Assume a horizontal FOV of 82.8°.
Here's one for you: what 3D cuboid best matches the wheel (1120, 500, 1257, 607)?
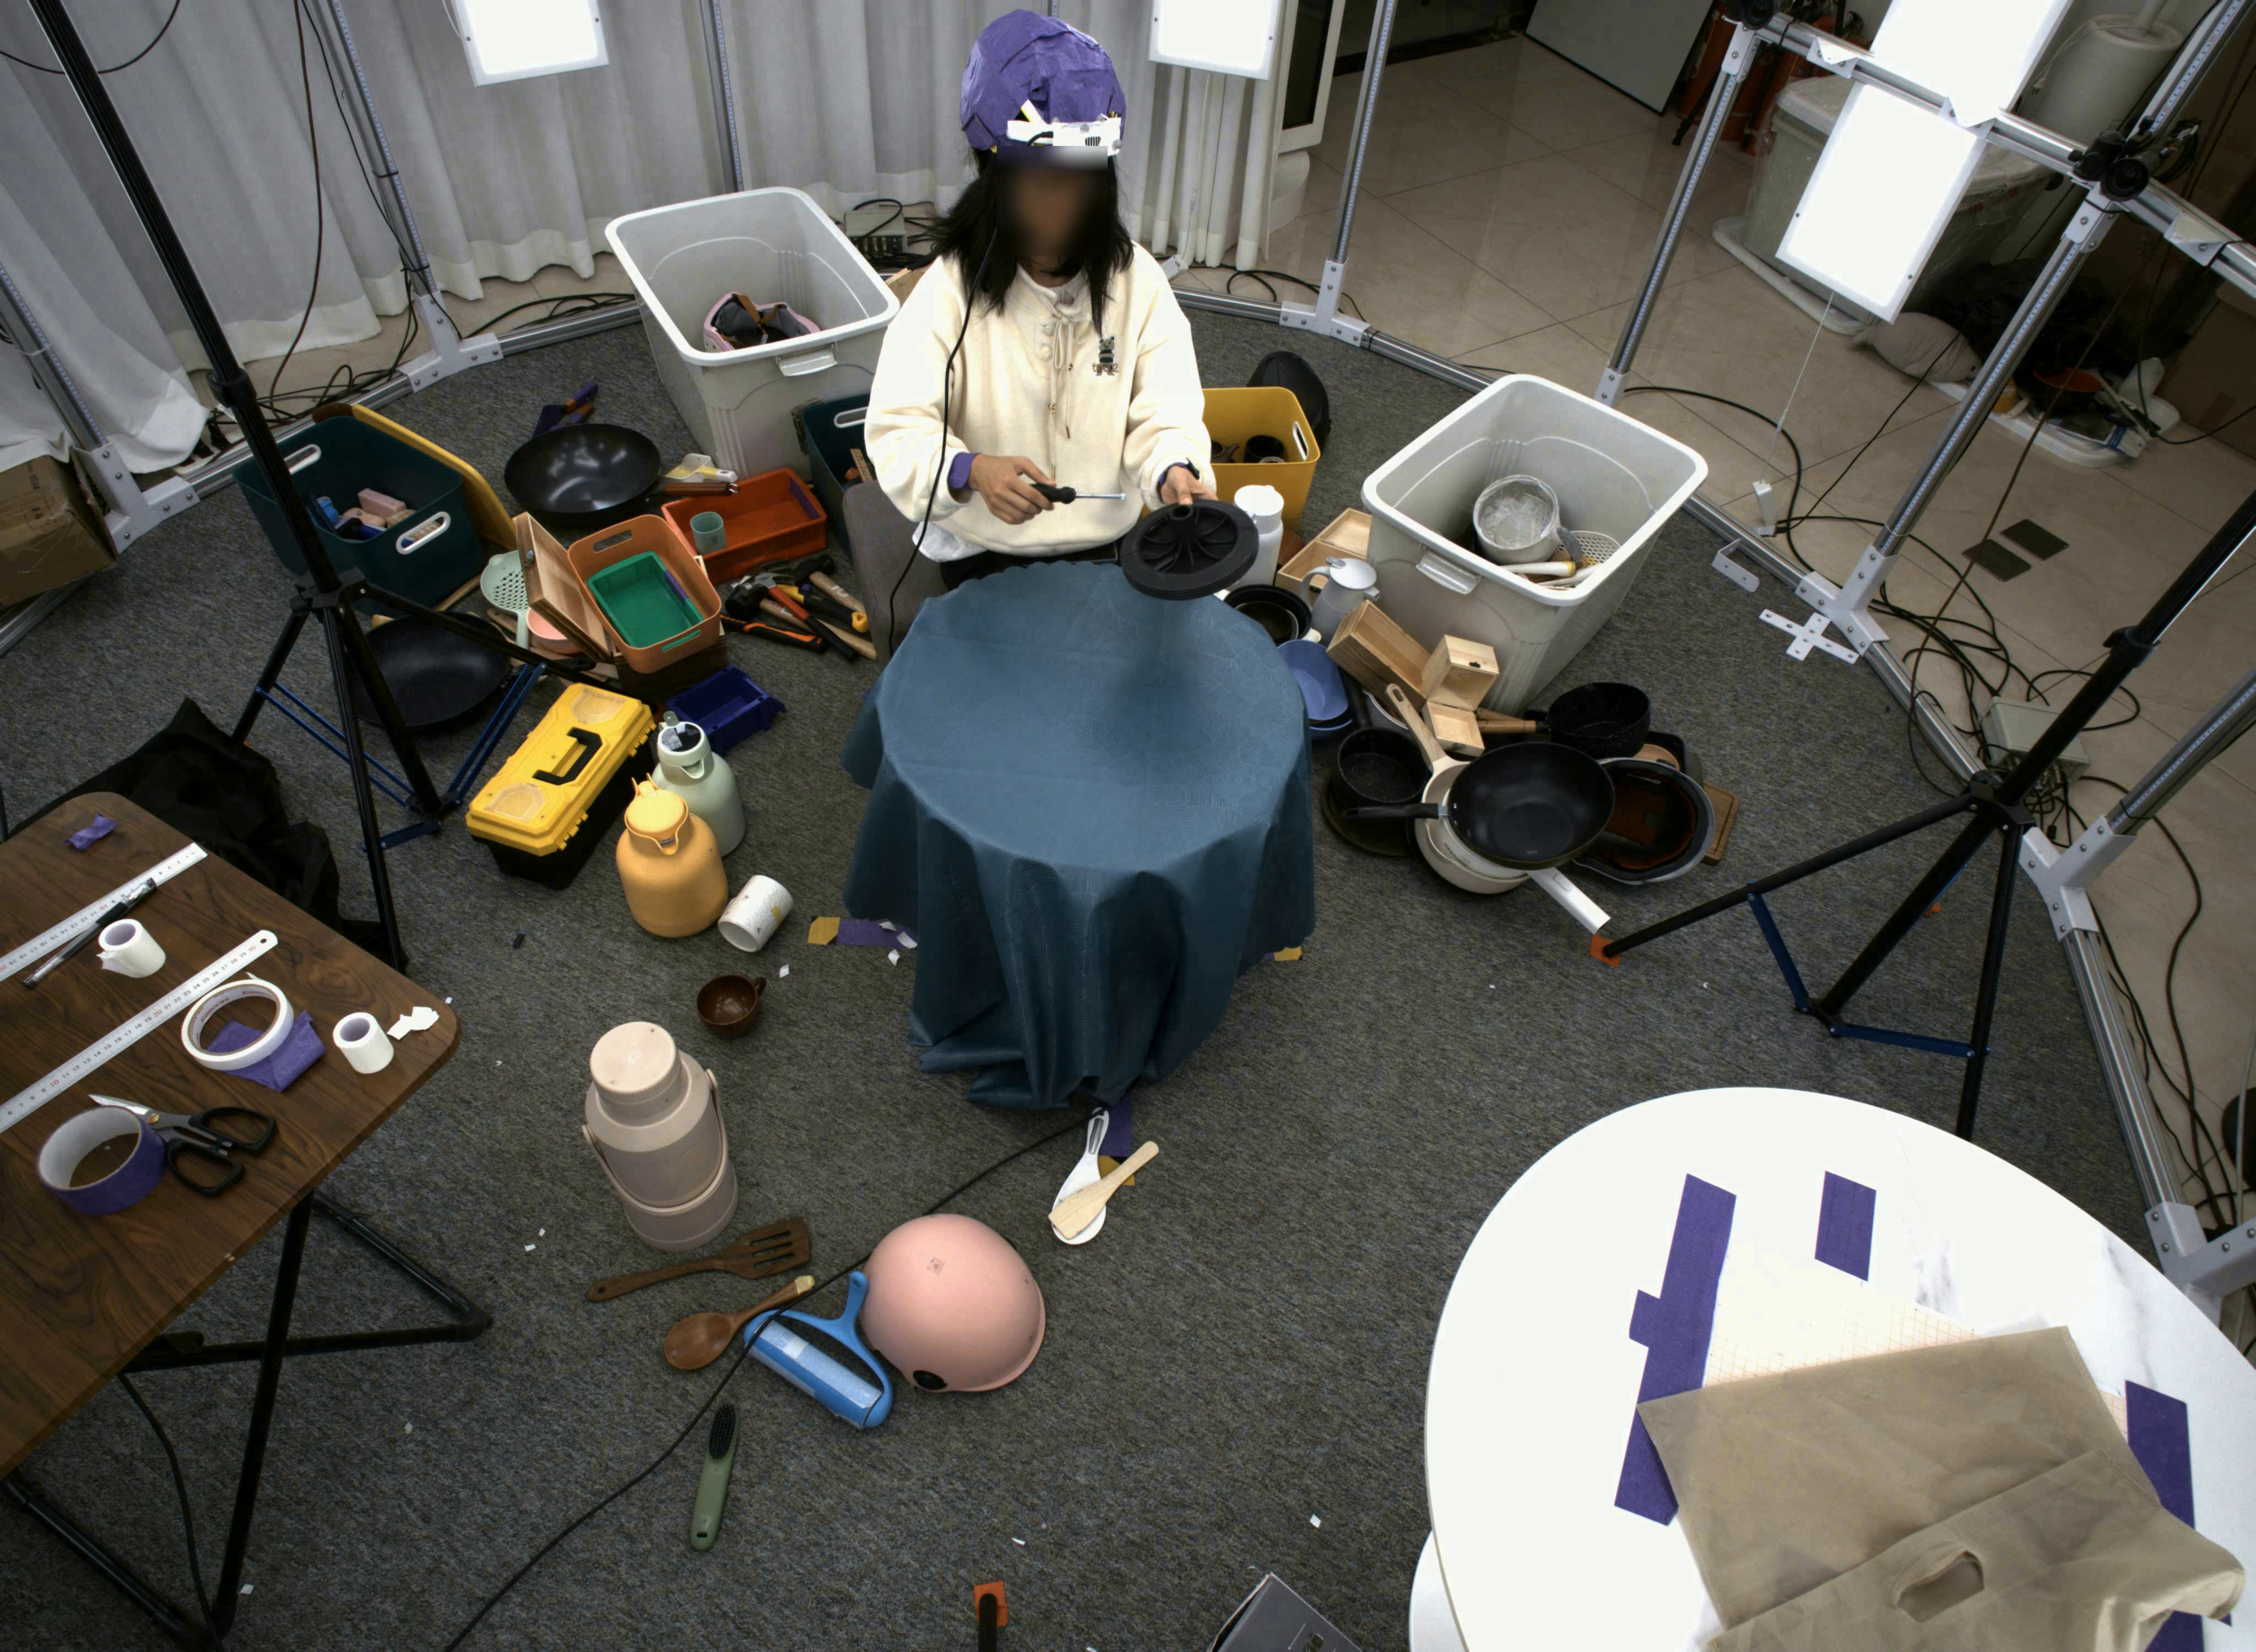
[{"bbox_3d":[0.076,-0.382,1.721,0.189,0.077,0.192,18,60,28],"label":"wheel"}]

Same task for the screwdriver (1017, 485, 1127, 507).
[{"bbox_3d":[-0.076,-0.456,1.768,0.197,0.031,0.032,6,42,39],"label":"screwdriver"}]
